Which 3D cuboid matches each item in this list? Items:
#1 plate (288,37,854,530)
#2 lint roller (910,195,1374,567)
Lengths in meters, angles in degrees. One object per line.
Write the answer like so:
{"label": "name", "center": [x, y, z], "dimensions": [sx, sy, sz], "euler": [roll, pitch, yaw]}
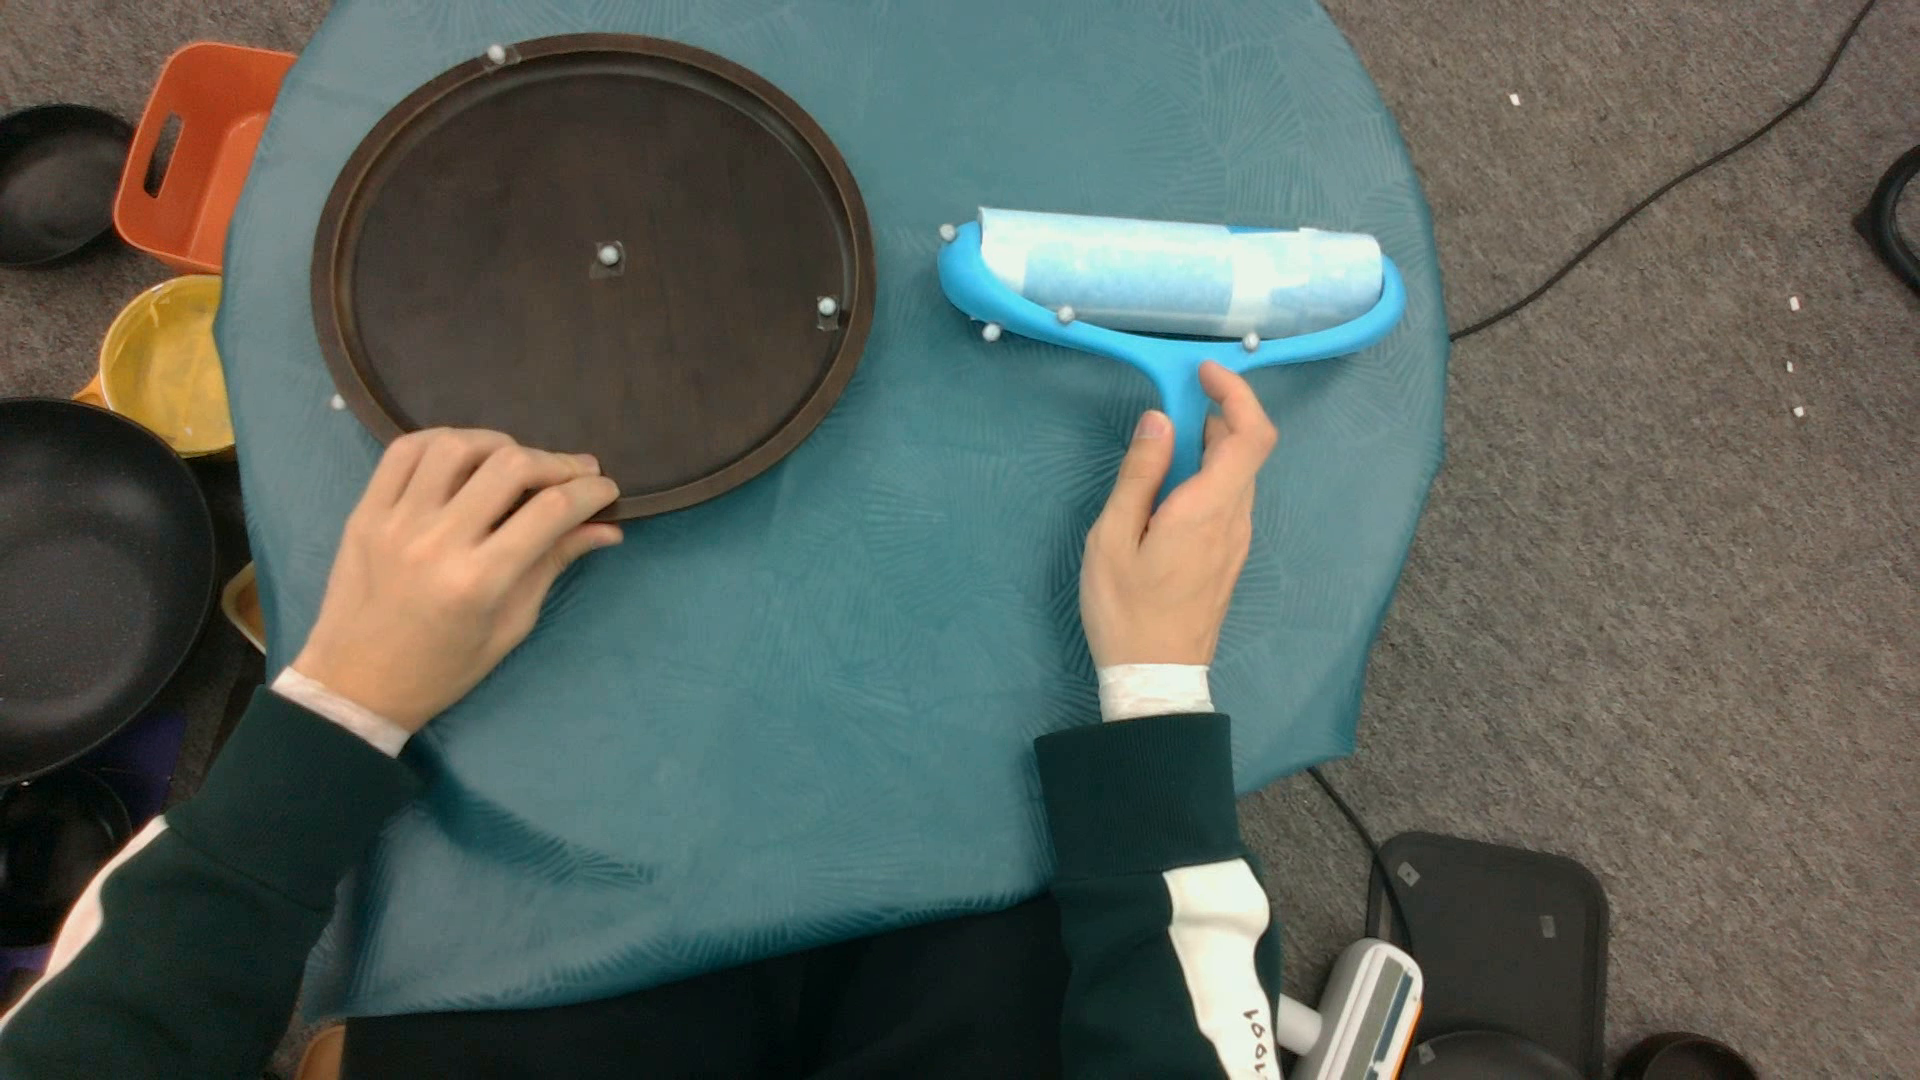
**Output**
{"label": "plate", "center": [-0.178, -0.124, 0.643], "dimensions": [0.255, 0.029, 0.255], "euler": [2, 71, -5]}
{"label": "lint roller", "center": [0.094, -0.081, 0.661], "dimensions": [0.229, 0.068, 0.180], "euler": [-2, 77, -9]}
